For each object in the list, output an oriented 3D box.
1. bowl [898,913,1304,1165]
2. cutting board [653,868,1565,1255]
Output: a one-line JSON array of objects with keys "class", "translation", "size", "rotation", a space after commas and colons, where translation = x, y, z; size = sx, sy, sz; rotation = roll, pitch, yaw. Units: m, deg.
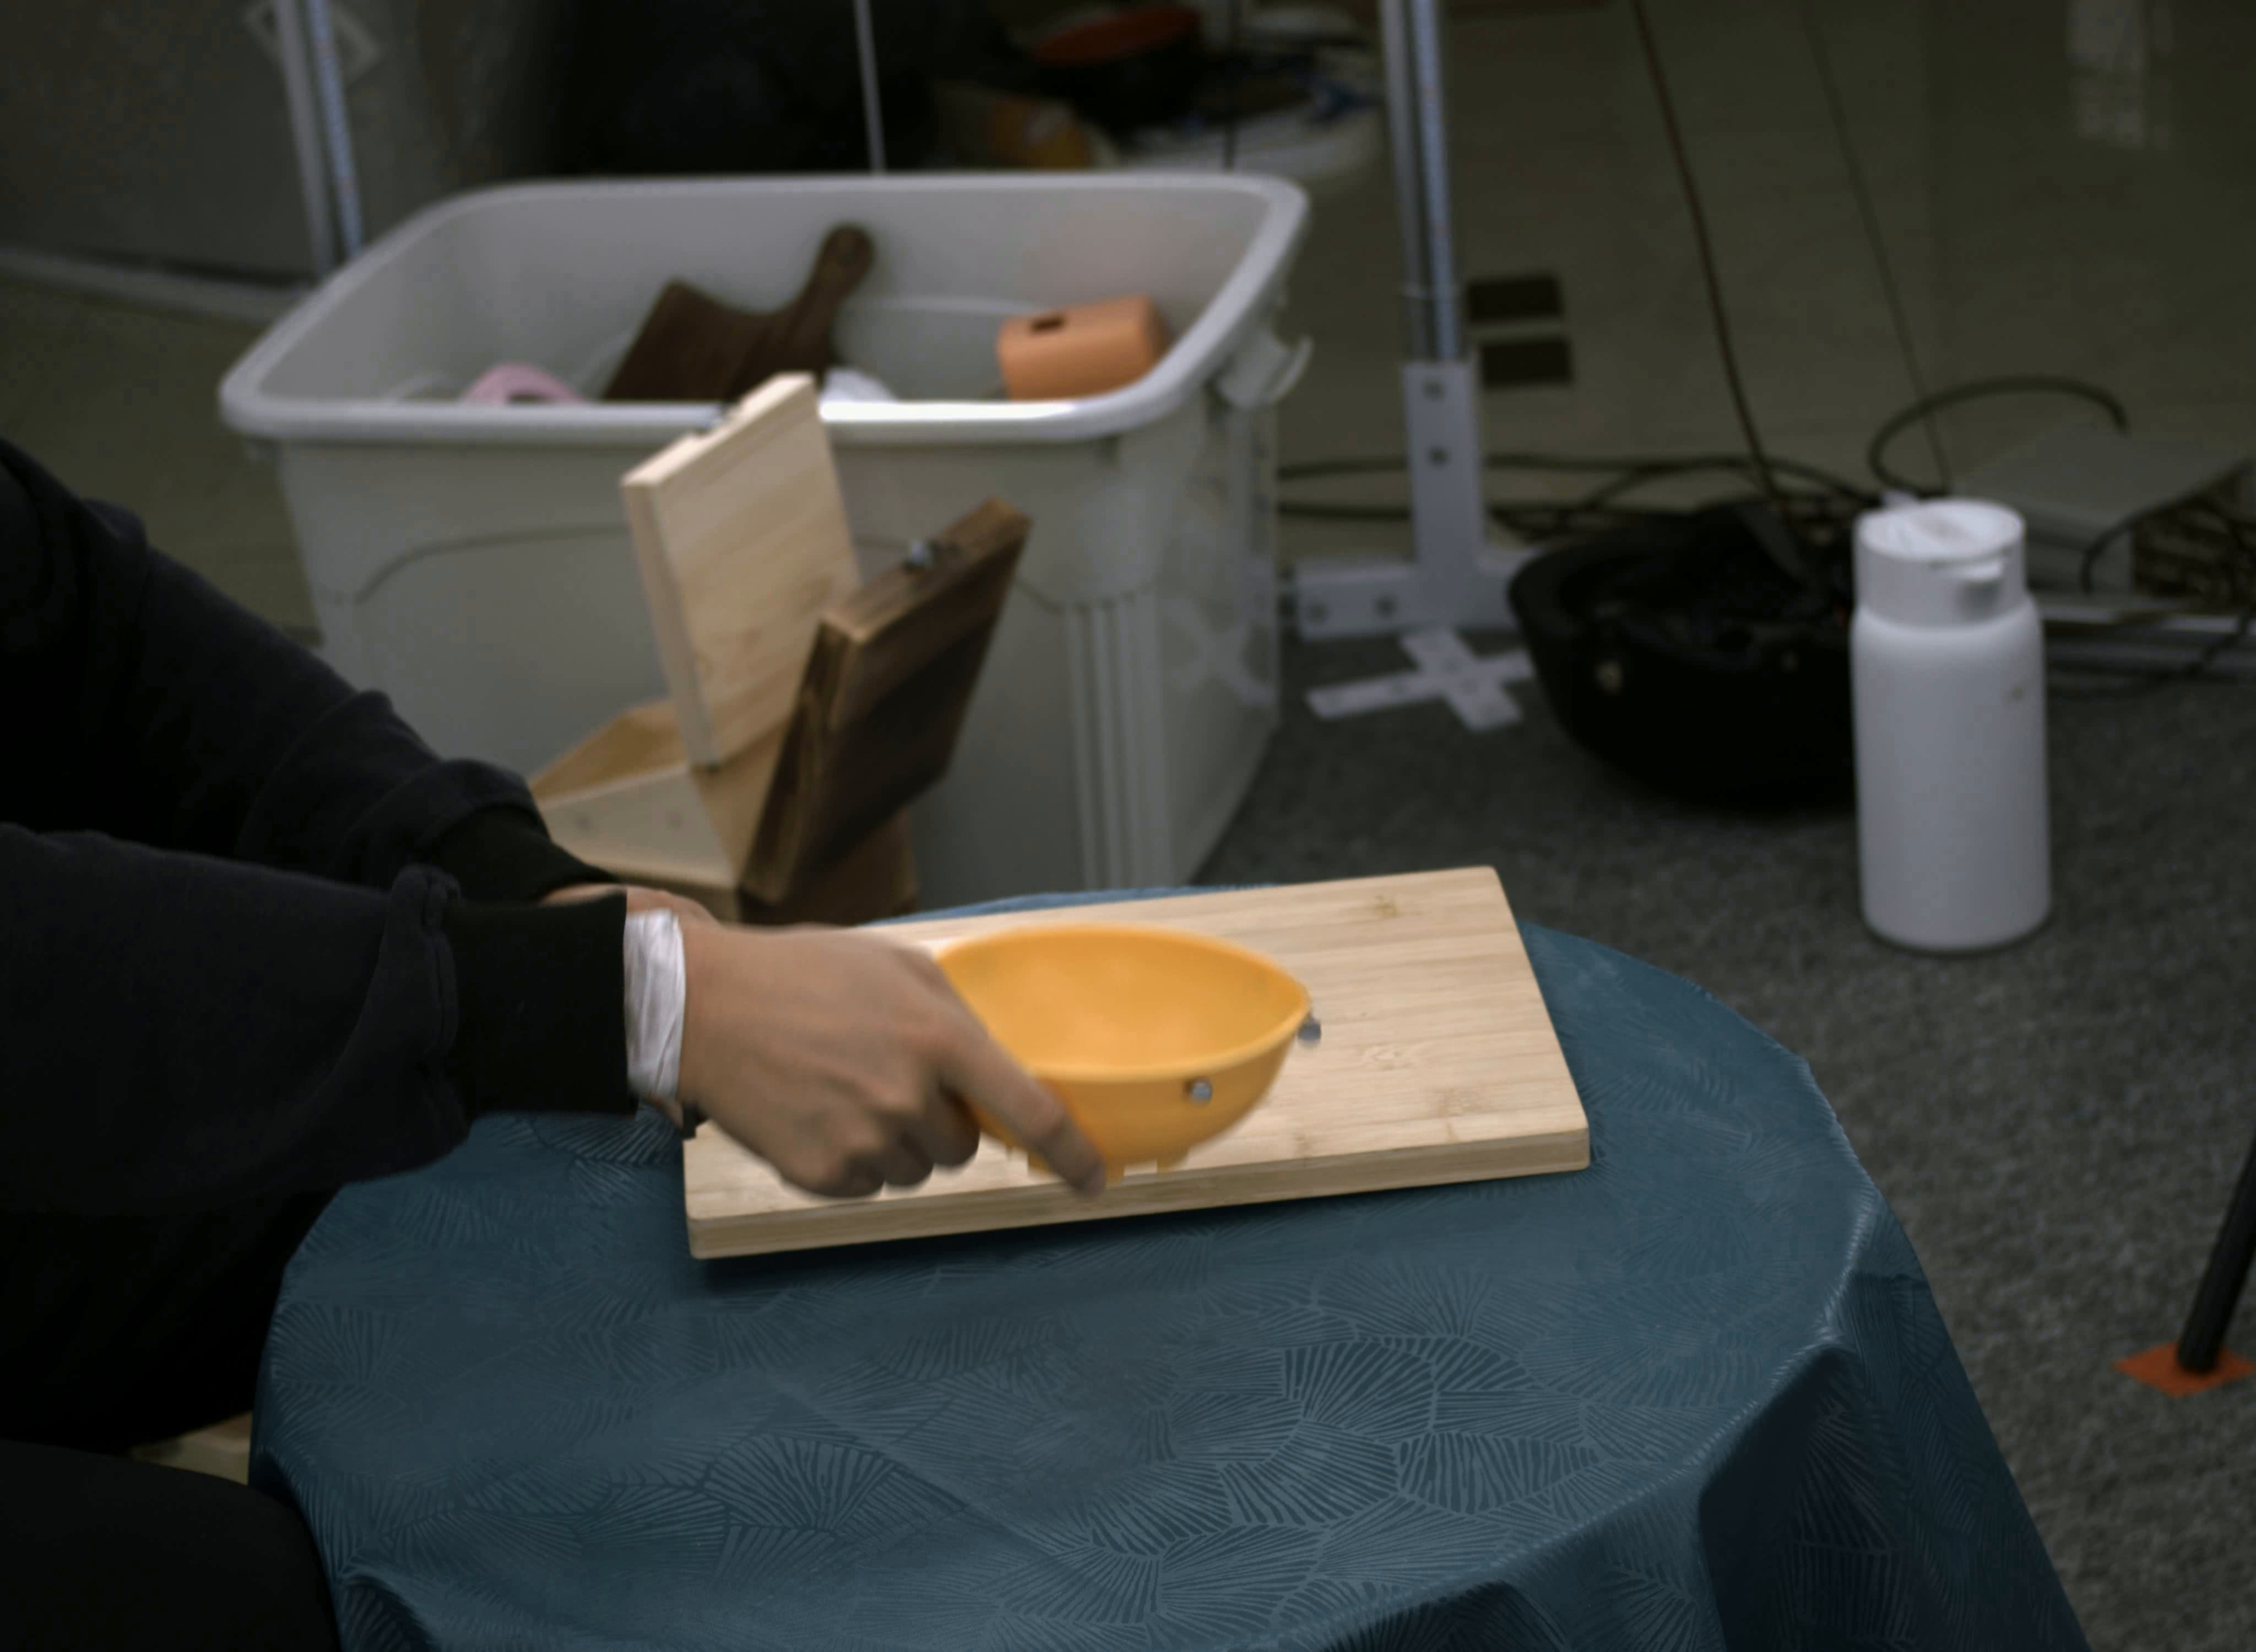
[{"class": "bowl", "translation": [-0.009, 0.081, 2.010], "size": [0.145, 0.061, 0.143], "rotation": [-1, 19, 0]}, {"class": "cutting board", "translation": [-0.012, 0.090, 2.226], "size": [0.348, 0.024, 0.247], "rotation": [-6, 24, -4]}]
